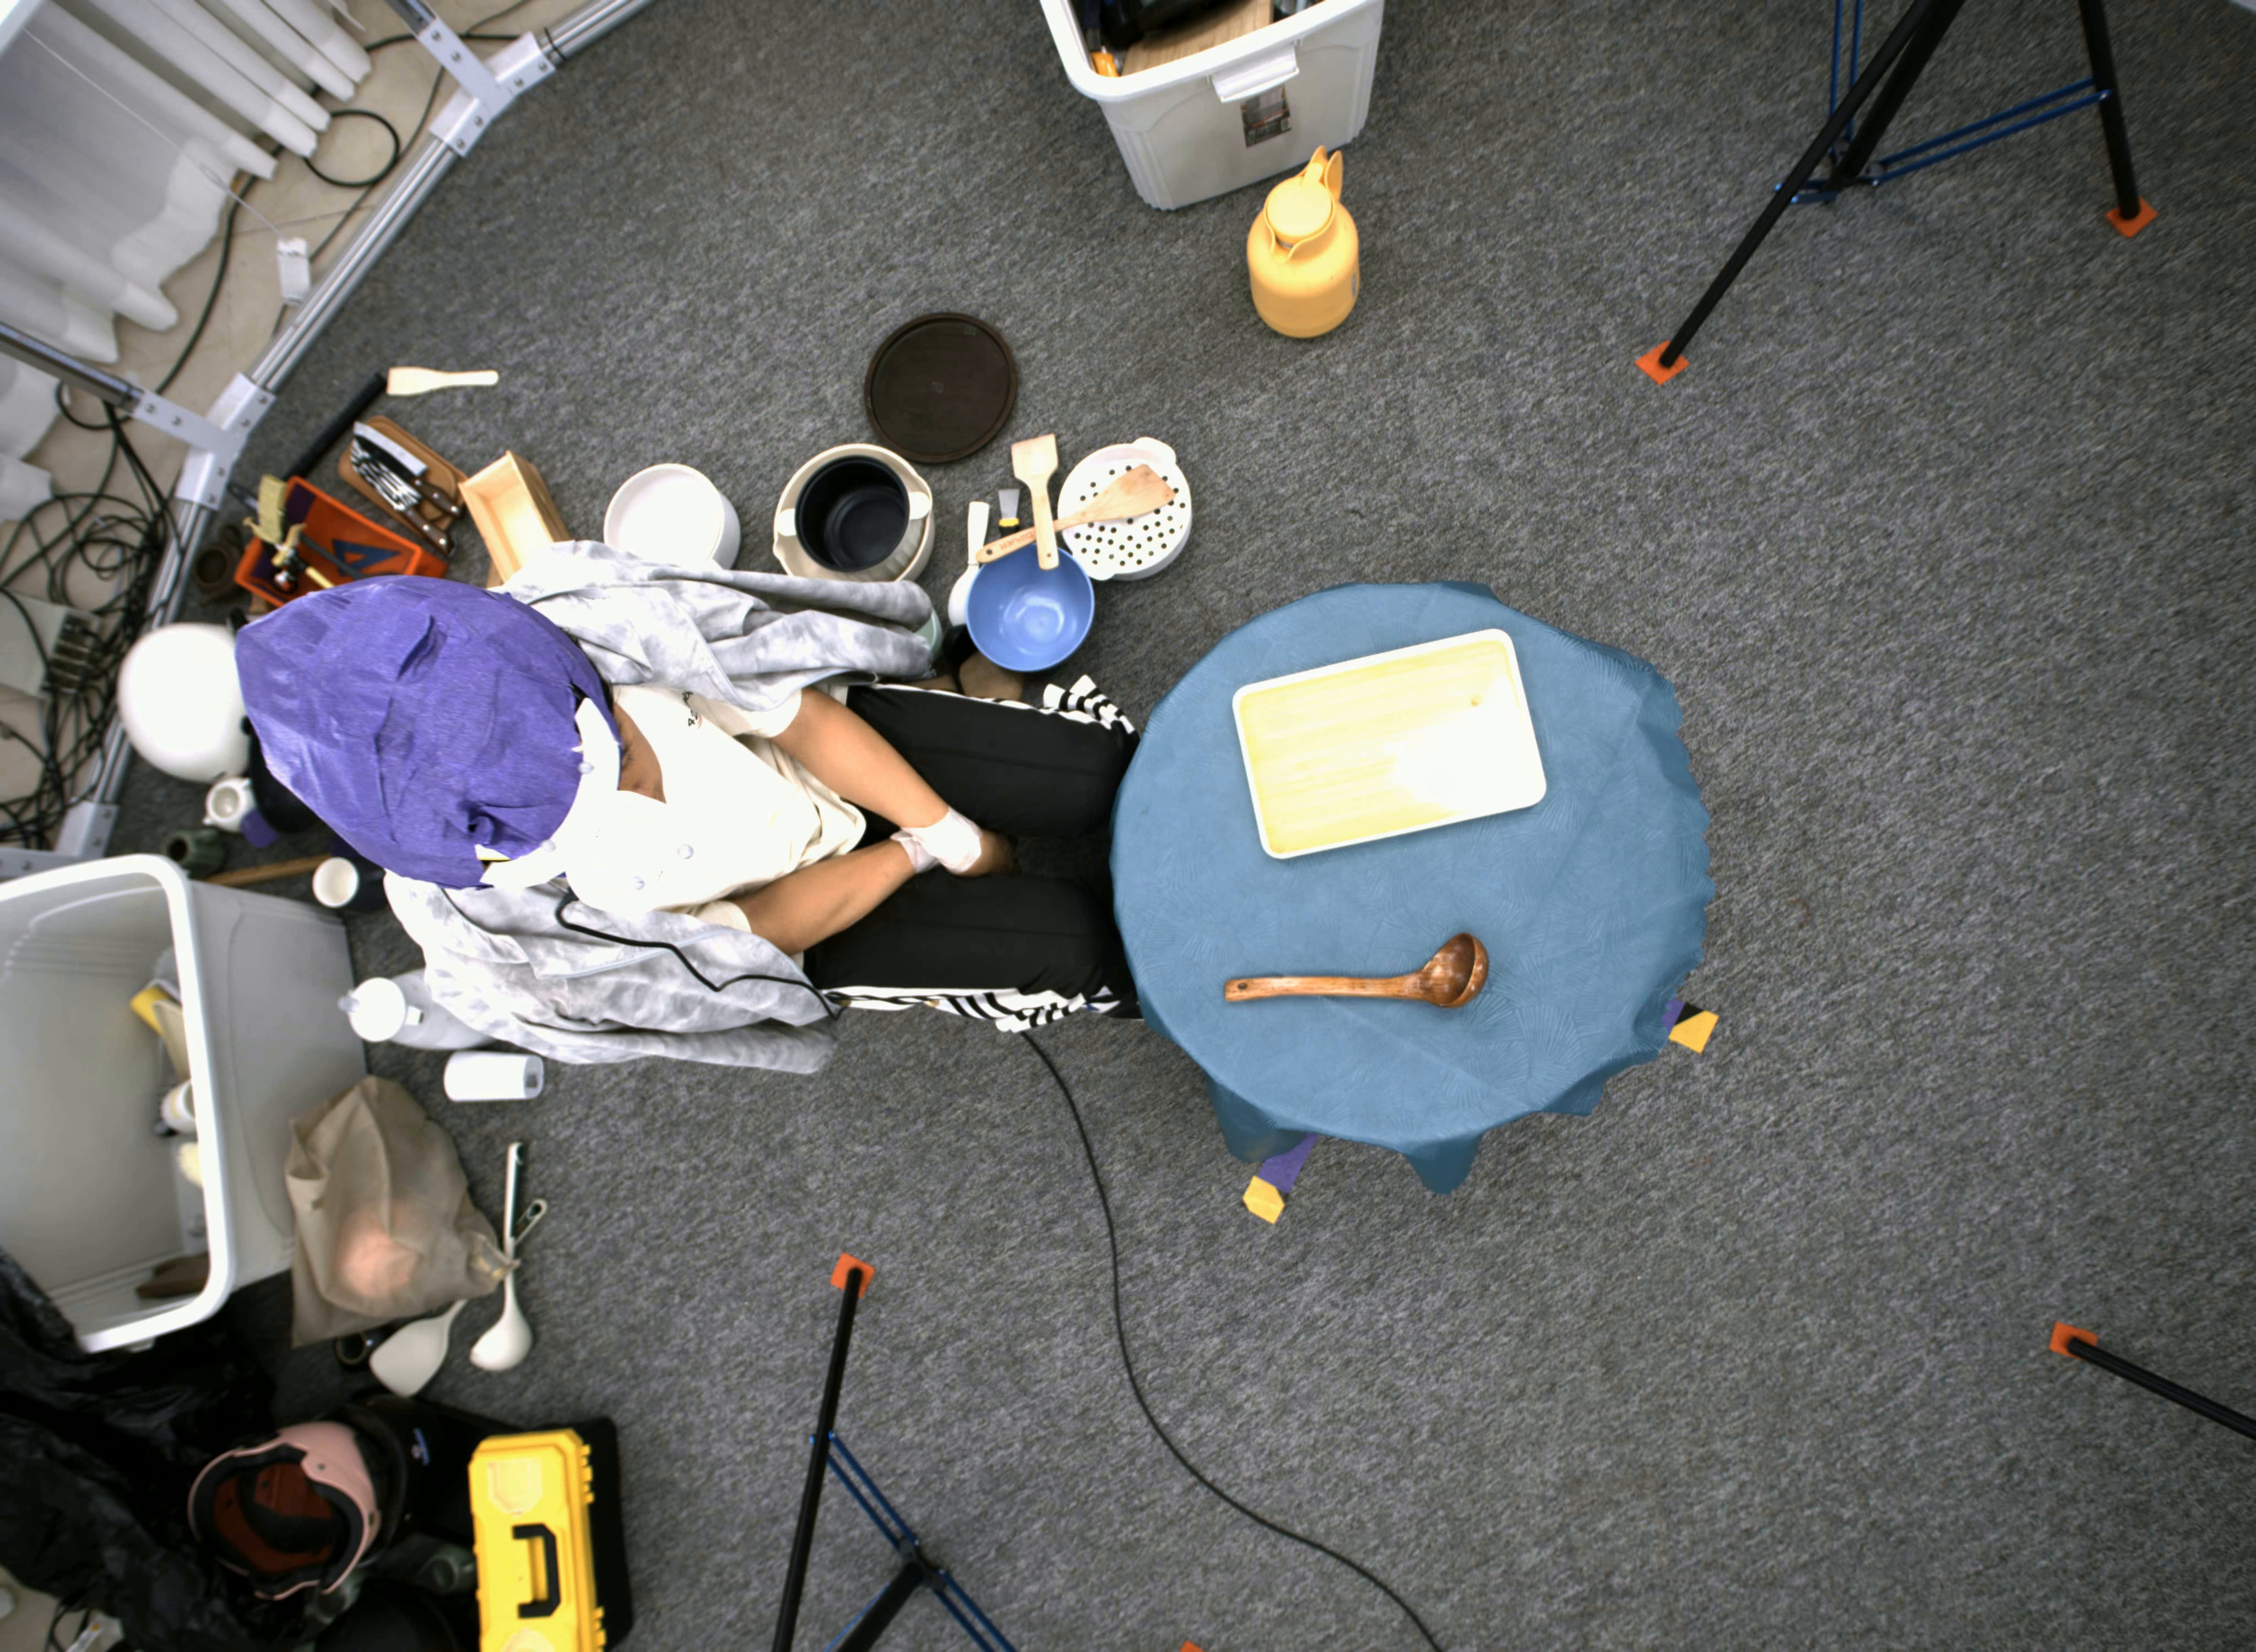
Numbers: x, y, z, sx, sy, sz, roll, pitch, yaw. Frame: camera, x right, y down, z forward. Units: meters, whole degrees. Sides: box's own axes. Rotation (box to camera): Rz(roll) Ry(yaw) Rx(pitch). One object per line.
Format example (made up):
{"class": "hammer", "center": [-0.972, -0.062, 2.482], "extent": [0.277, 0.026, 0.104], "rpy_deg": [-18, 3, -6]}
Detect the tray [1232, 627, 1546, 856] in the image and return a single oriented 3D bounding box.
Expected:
{"class": "tray", "center": [0.272, -0.089, 1.452], "extent": [0.302, 0.027, 0.190], "rpy_deg": [-12, 85, 10]}

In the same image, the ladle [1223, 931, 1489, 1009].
{"class": "ladle", "center": [0.231, 0.148, 1.426], "extent": [0.275, 0.078, 0.079], "rpy_deg": [0, 44, 12]}
